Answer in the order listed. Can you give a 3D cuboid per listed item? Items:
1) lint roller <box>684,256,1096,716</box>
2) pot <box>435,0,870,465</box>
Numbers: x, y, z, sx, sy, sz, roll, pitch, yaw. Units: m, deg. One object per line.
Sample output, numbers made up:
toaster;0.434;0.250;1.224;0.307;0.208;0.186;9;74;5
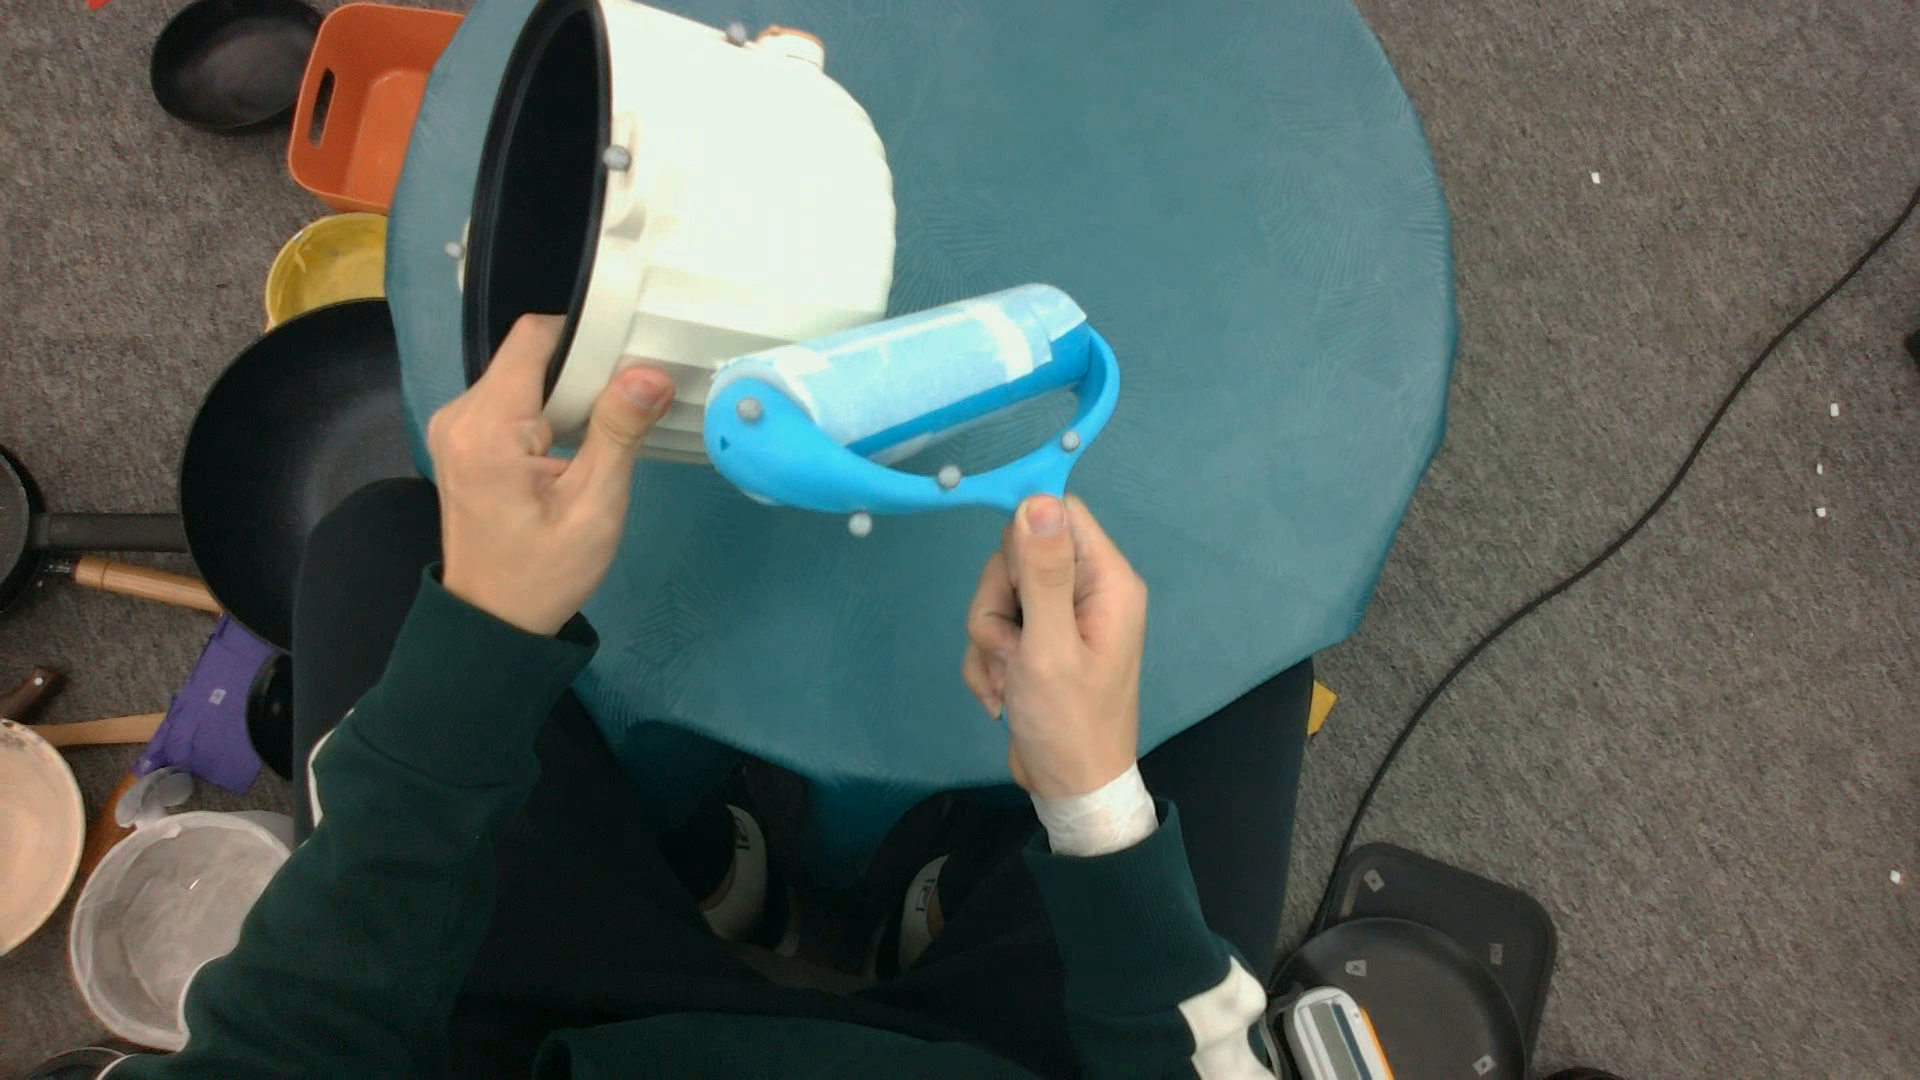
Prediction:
lint roller;0.002;-0.019;0.552;0.230;0.067;0.180;-35;100;-54
pot;-0.128;-0.129;0.585;0.143;0.240;0.190;2;89;-36
